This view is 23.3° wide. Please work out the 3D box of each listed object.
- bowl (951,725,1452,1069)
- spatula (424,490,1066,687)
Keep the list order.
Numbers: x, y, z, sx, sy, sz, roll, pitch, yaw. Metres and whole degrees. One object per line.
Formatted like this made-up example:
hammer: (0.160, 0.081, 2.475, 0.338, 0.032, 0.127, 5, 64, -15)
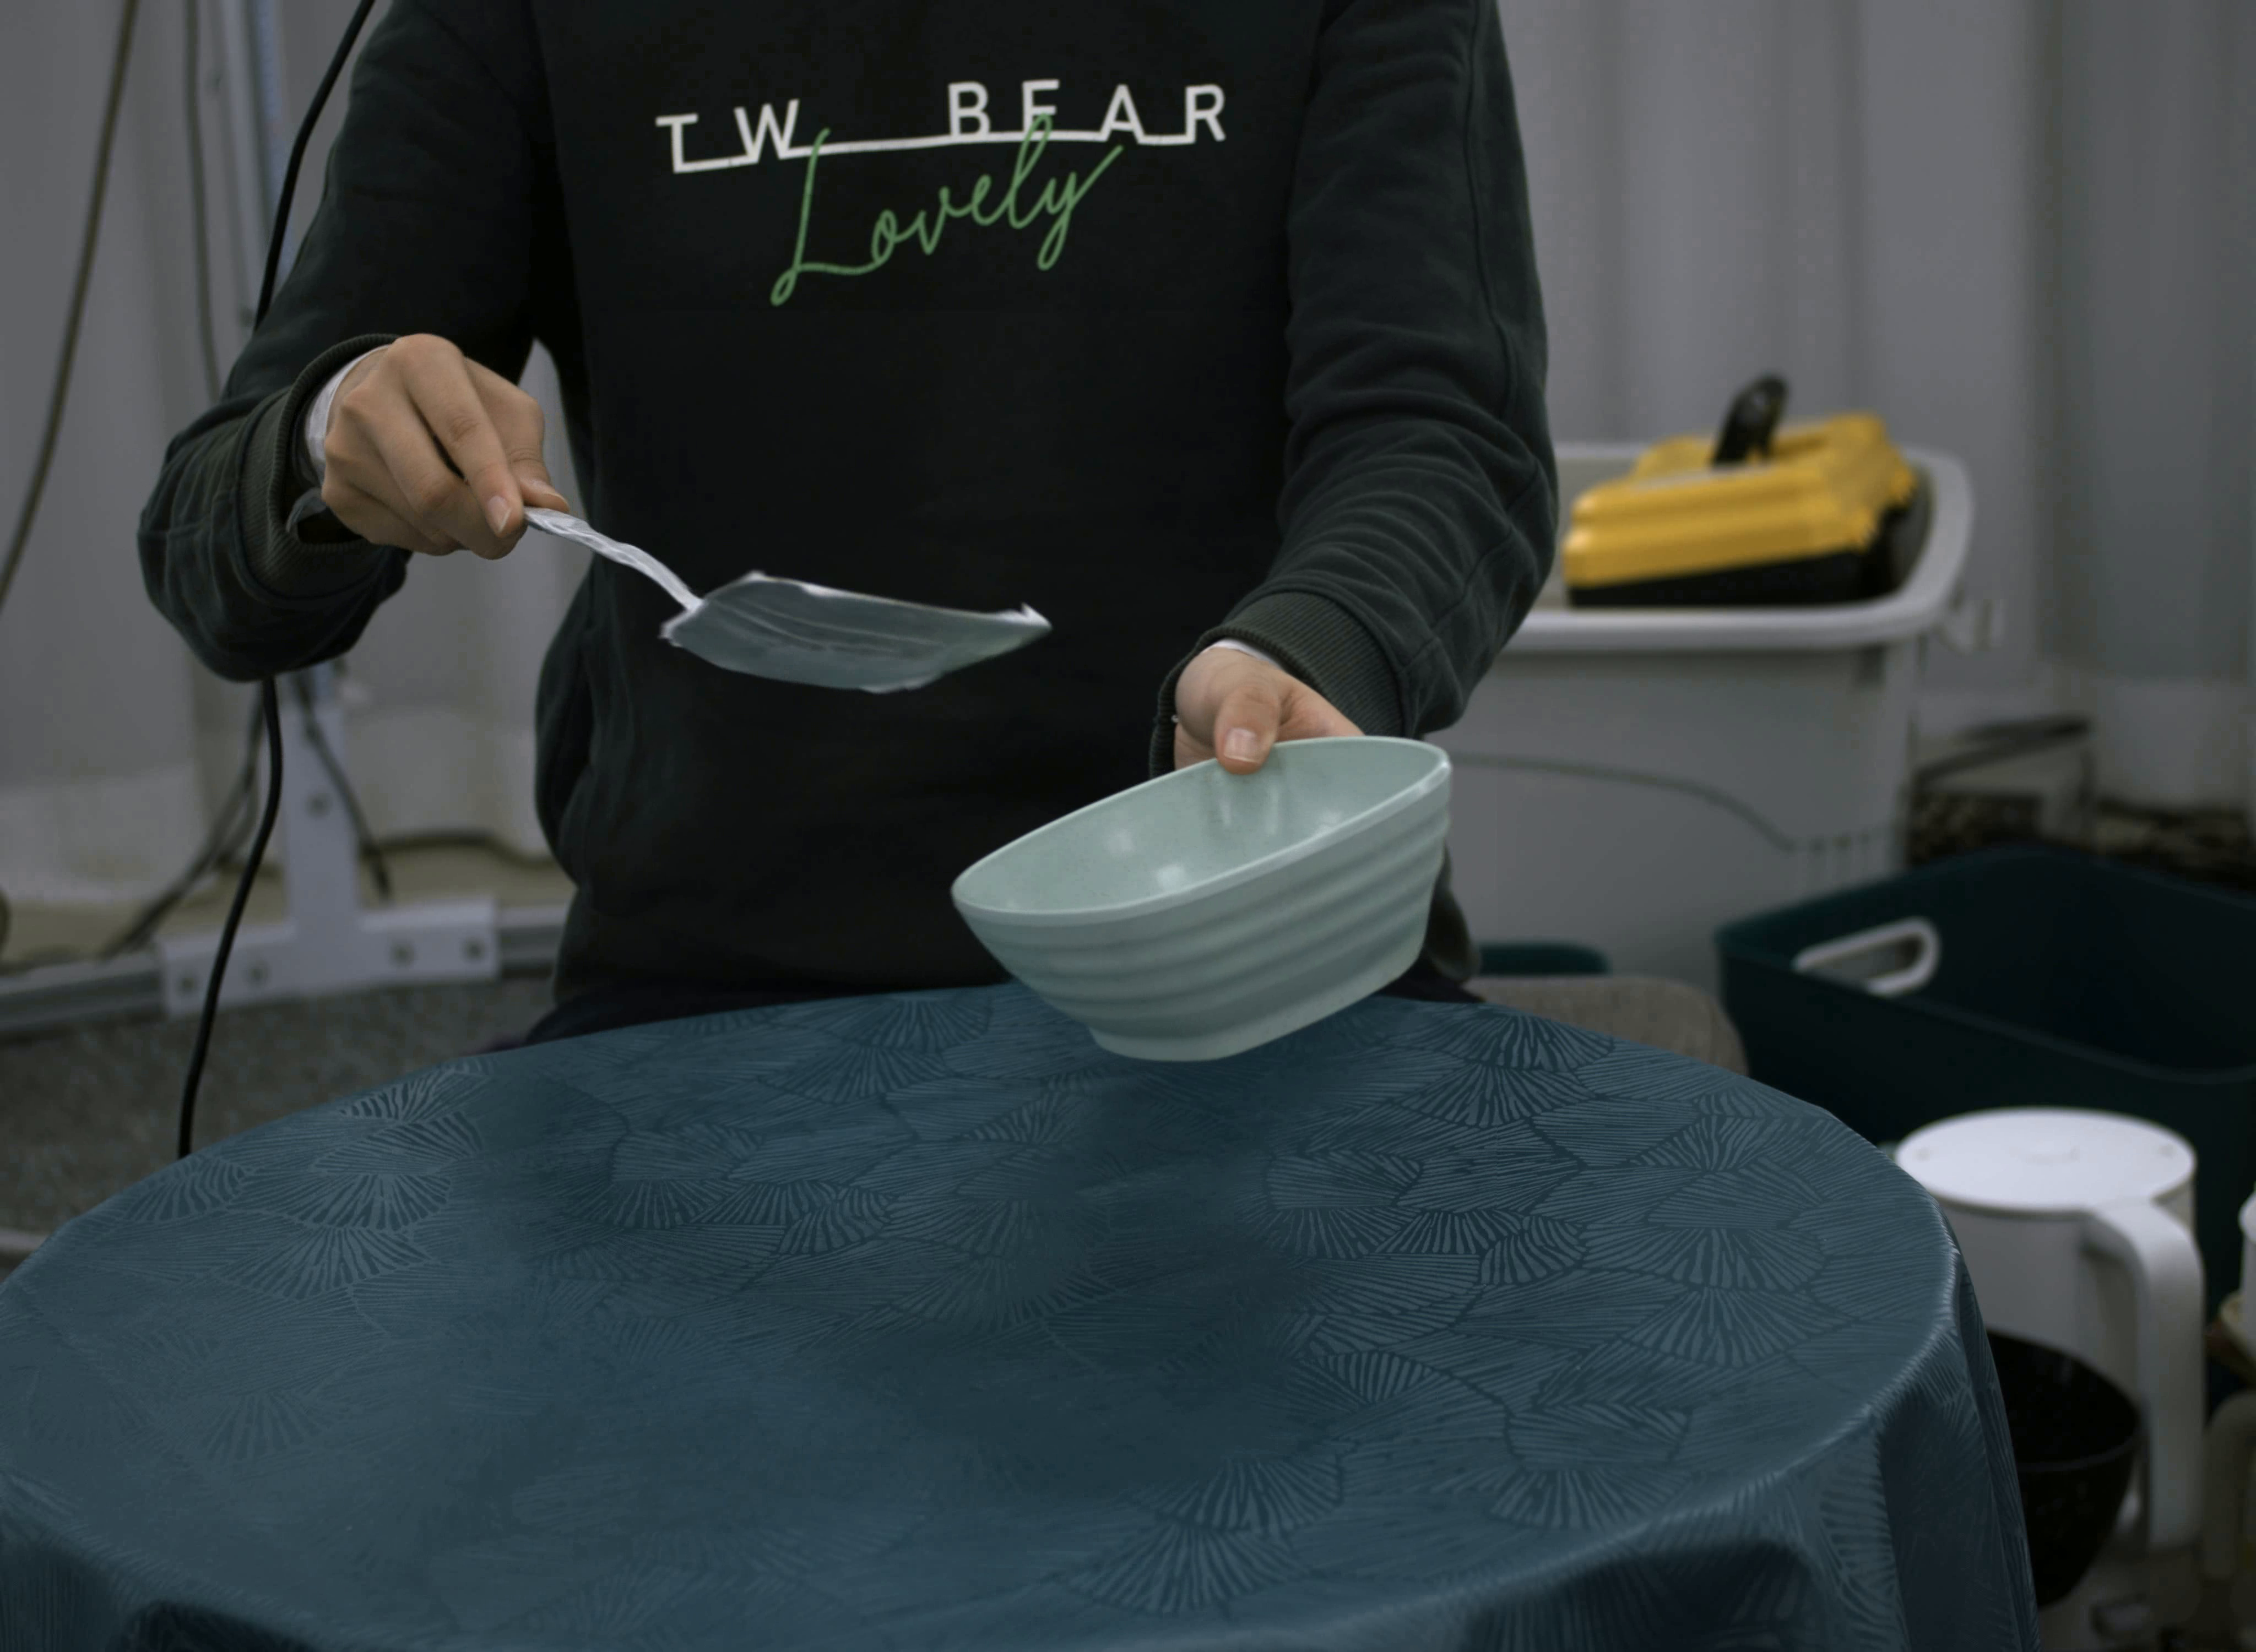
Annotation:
bowl: (0.028, 0.025, 1.580, 0.151, 0.058, 0.152, -16, 17, 4)
spatula: (-0.141, -0.083, 1.655, 0.098, 0.045, 0.368, 7, 10, -31)
